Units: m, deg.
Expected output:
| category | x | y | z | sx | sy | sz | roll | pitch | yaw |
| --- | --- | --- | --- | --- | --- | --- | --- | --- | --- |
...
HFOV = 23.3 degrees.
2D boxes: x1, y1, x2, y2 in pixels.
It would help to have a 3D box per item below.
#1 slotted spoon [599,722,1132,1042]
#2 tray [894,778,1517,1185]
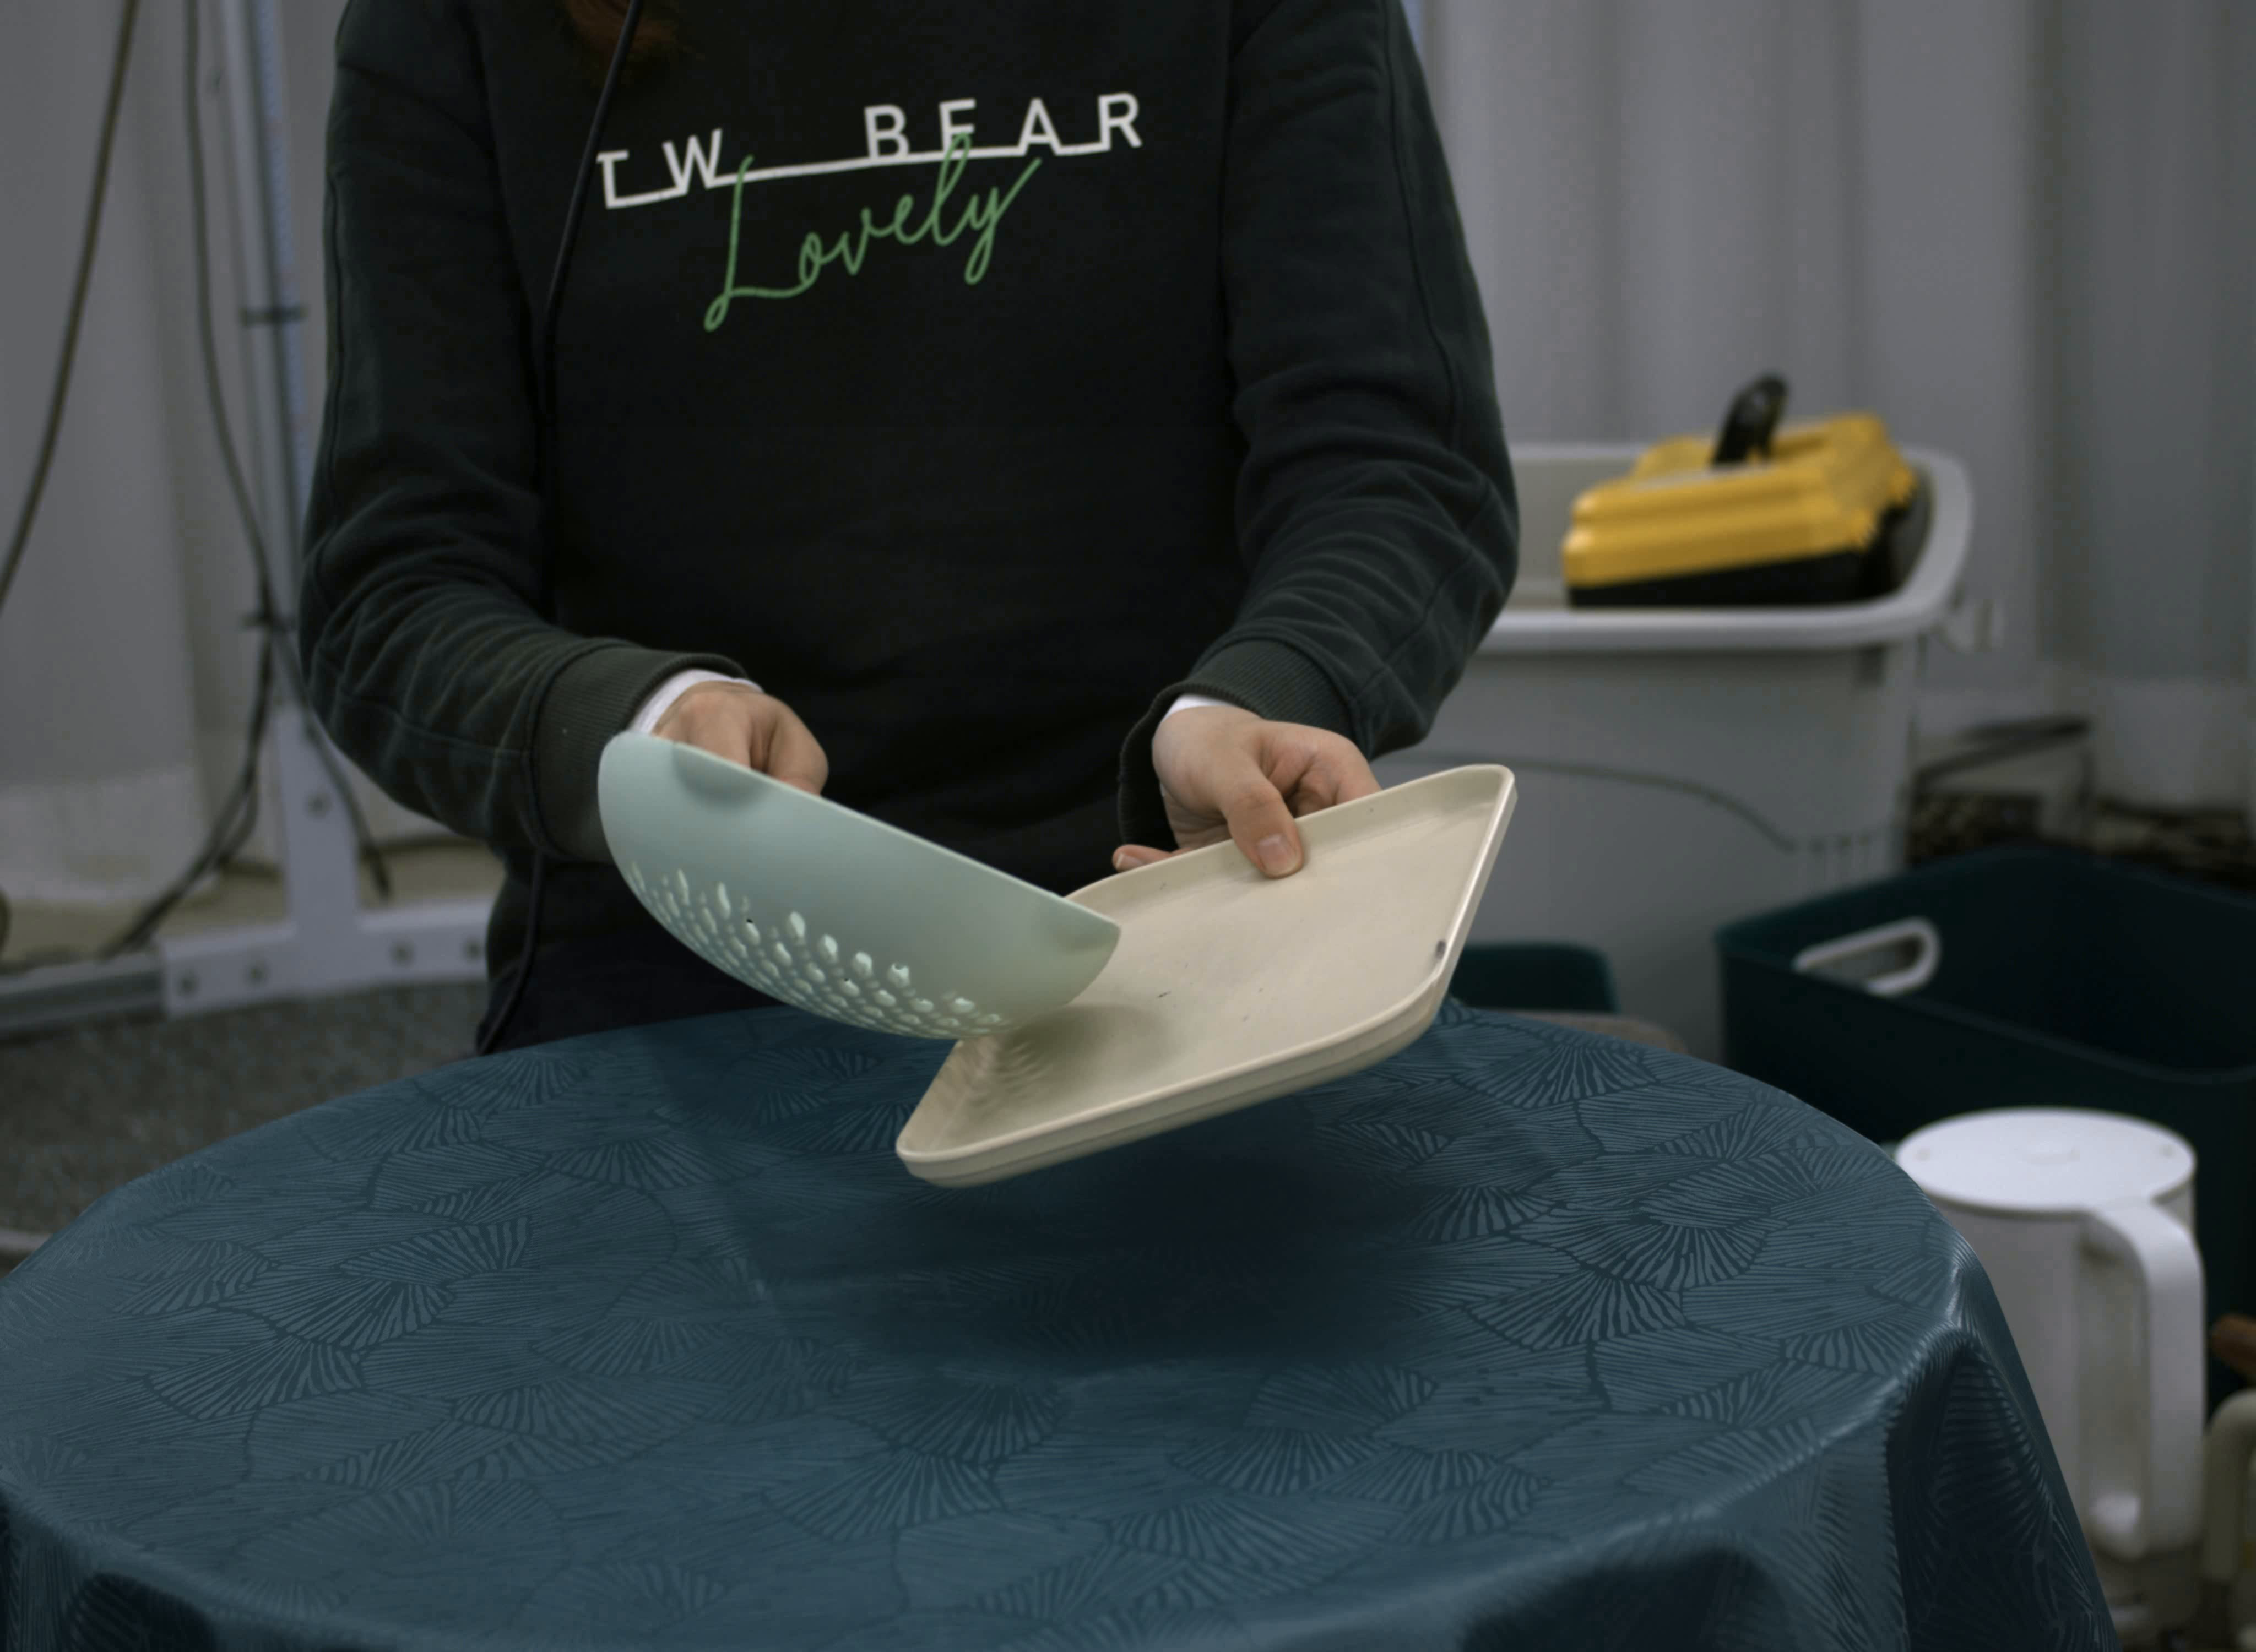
| category | x | y | z | sx | sy | sz | roll | pitch | yaw |
| --- | --- | --- | --- | --- | --- | --- | --- | --- | --- |
| slotted spoon | -0.105 | 0.013 | 1.733 | 0.168 | 0.075 | 0.360 | 24 | 2 | -12 |
| tray | 0.029 | 0.046 | 1.642 | 0.171 | 0.017 | 0.241 | -17 | 13 | 16 |
